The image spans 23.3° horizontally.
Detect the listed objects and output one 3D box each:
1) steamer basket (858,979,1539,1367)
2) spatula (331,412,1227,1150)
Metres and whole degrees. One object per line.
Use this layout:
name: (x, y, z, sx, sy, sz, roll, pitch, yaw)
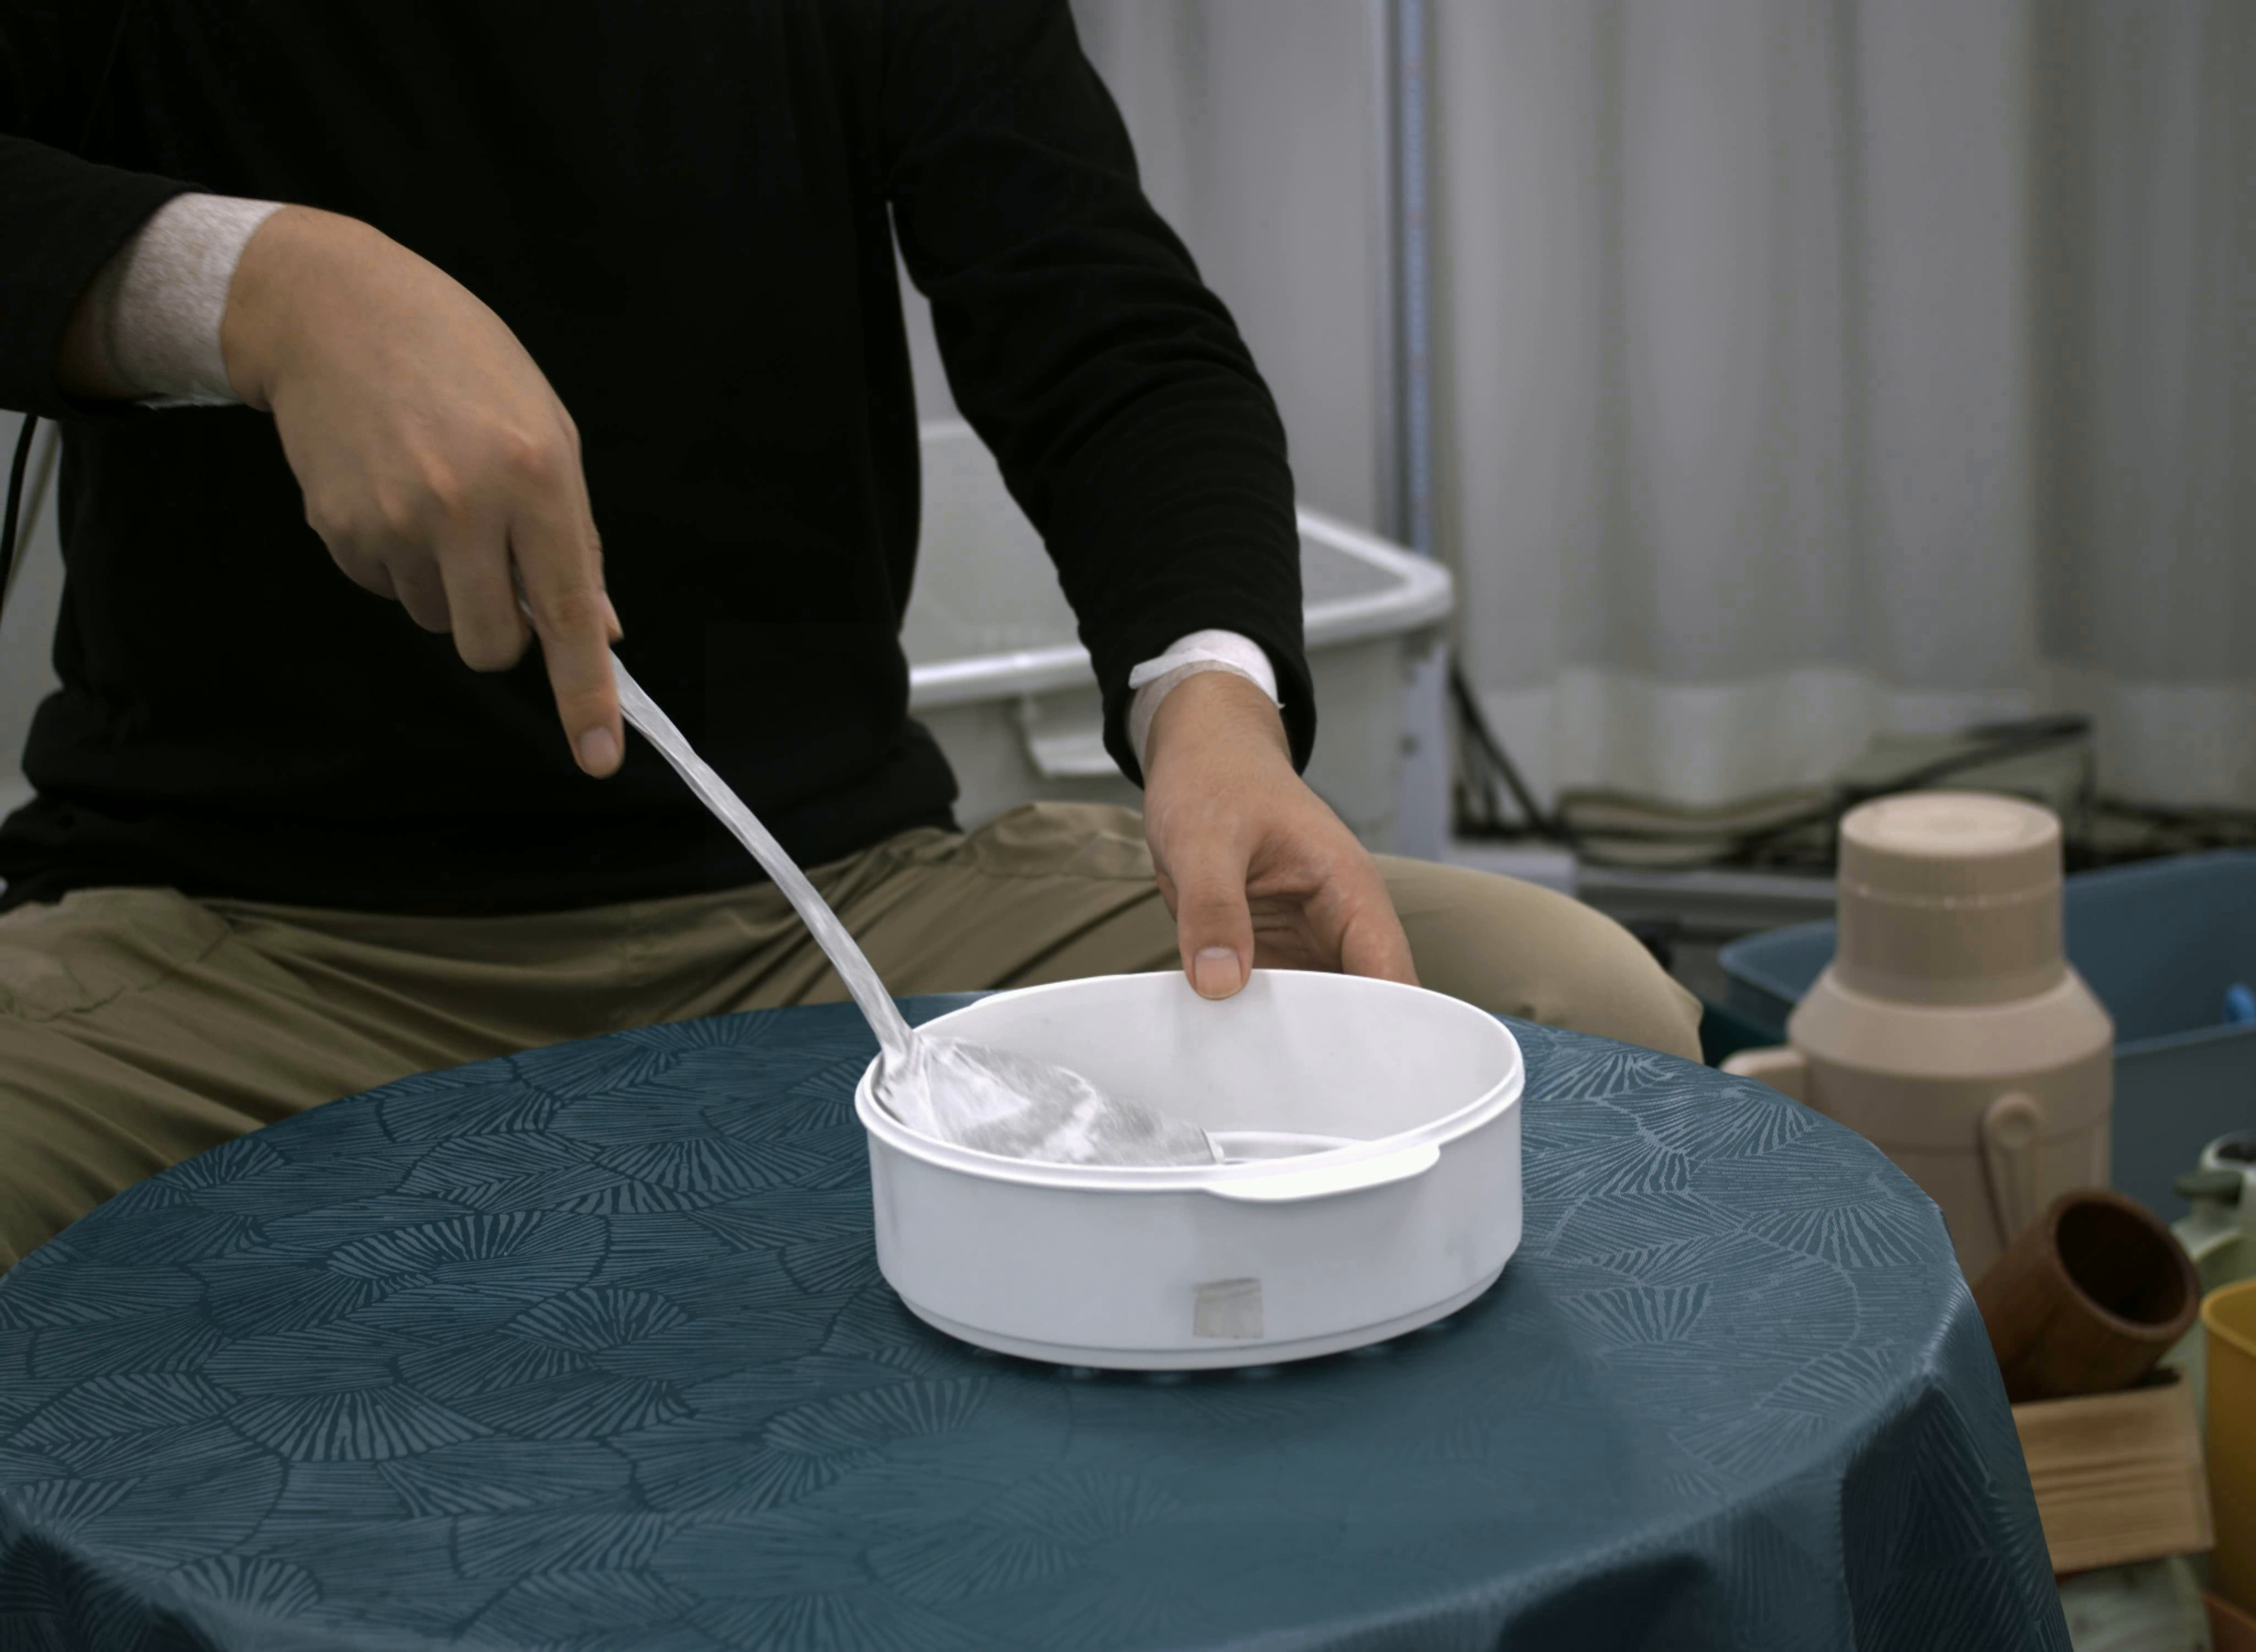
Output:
steamer basket: (0.022, 0.102, 1.621, 0.201, 0.069, 0.232, -7, 14, -20)
spatula: (-0.116, -0.008, 1.656, 0.366, 0.044, 0.099, 47, 28, 9)
